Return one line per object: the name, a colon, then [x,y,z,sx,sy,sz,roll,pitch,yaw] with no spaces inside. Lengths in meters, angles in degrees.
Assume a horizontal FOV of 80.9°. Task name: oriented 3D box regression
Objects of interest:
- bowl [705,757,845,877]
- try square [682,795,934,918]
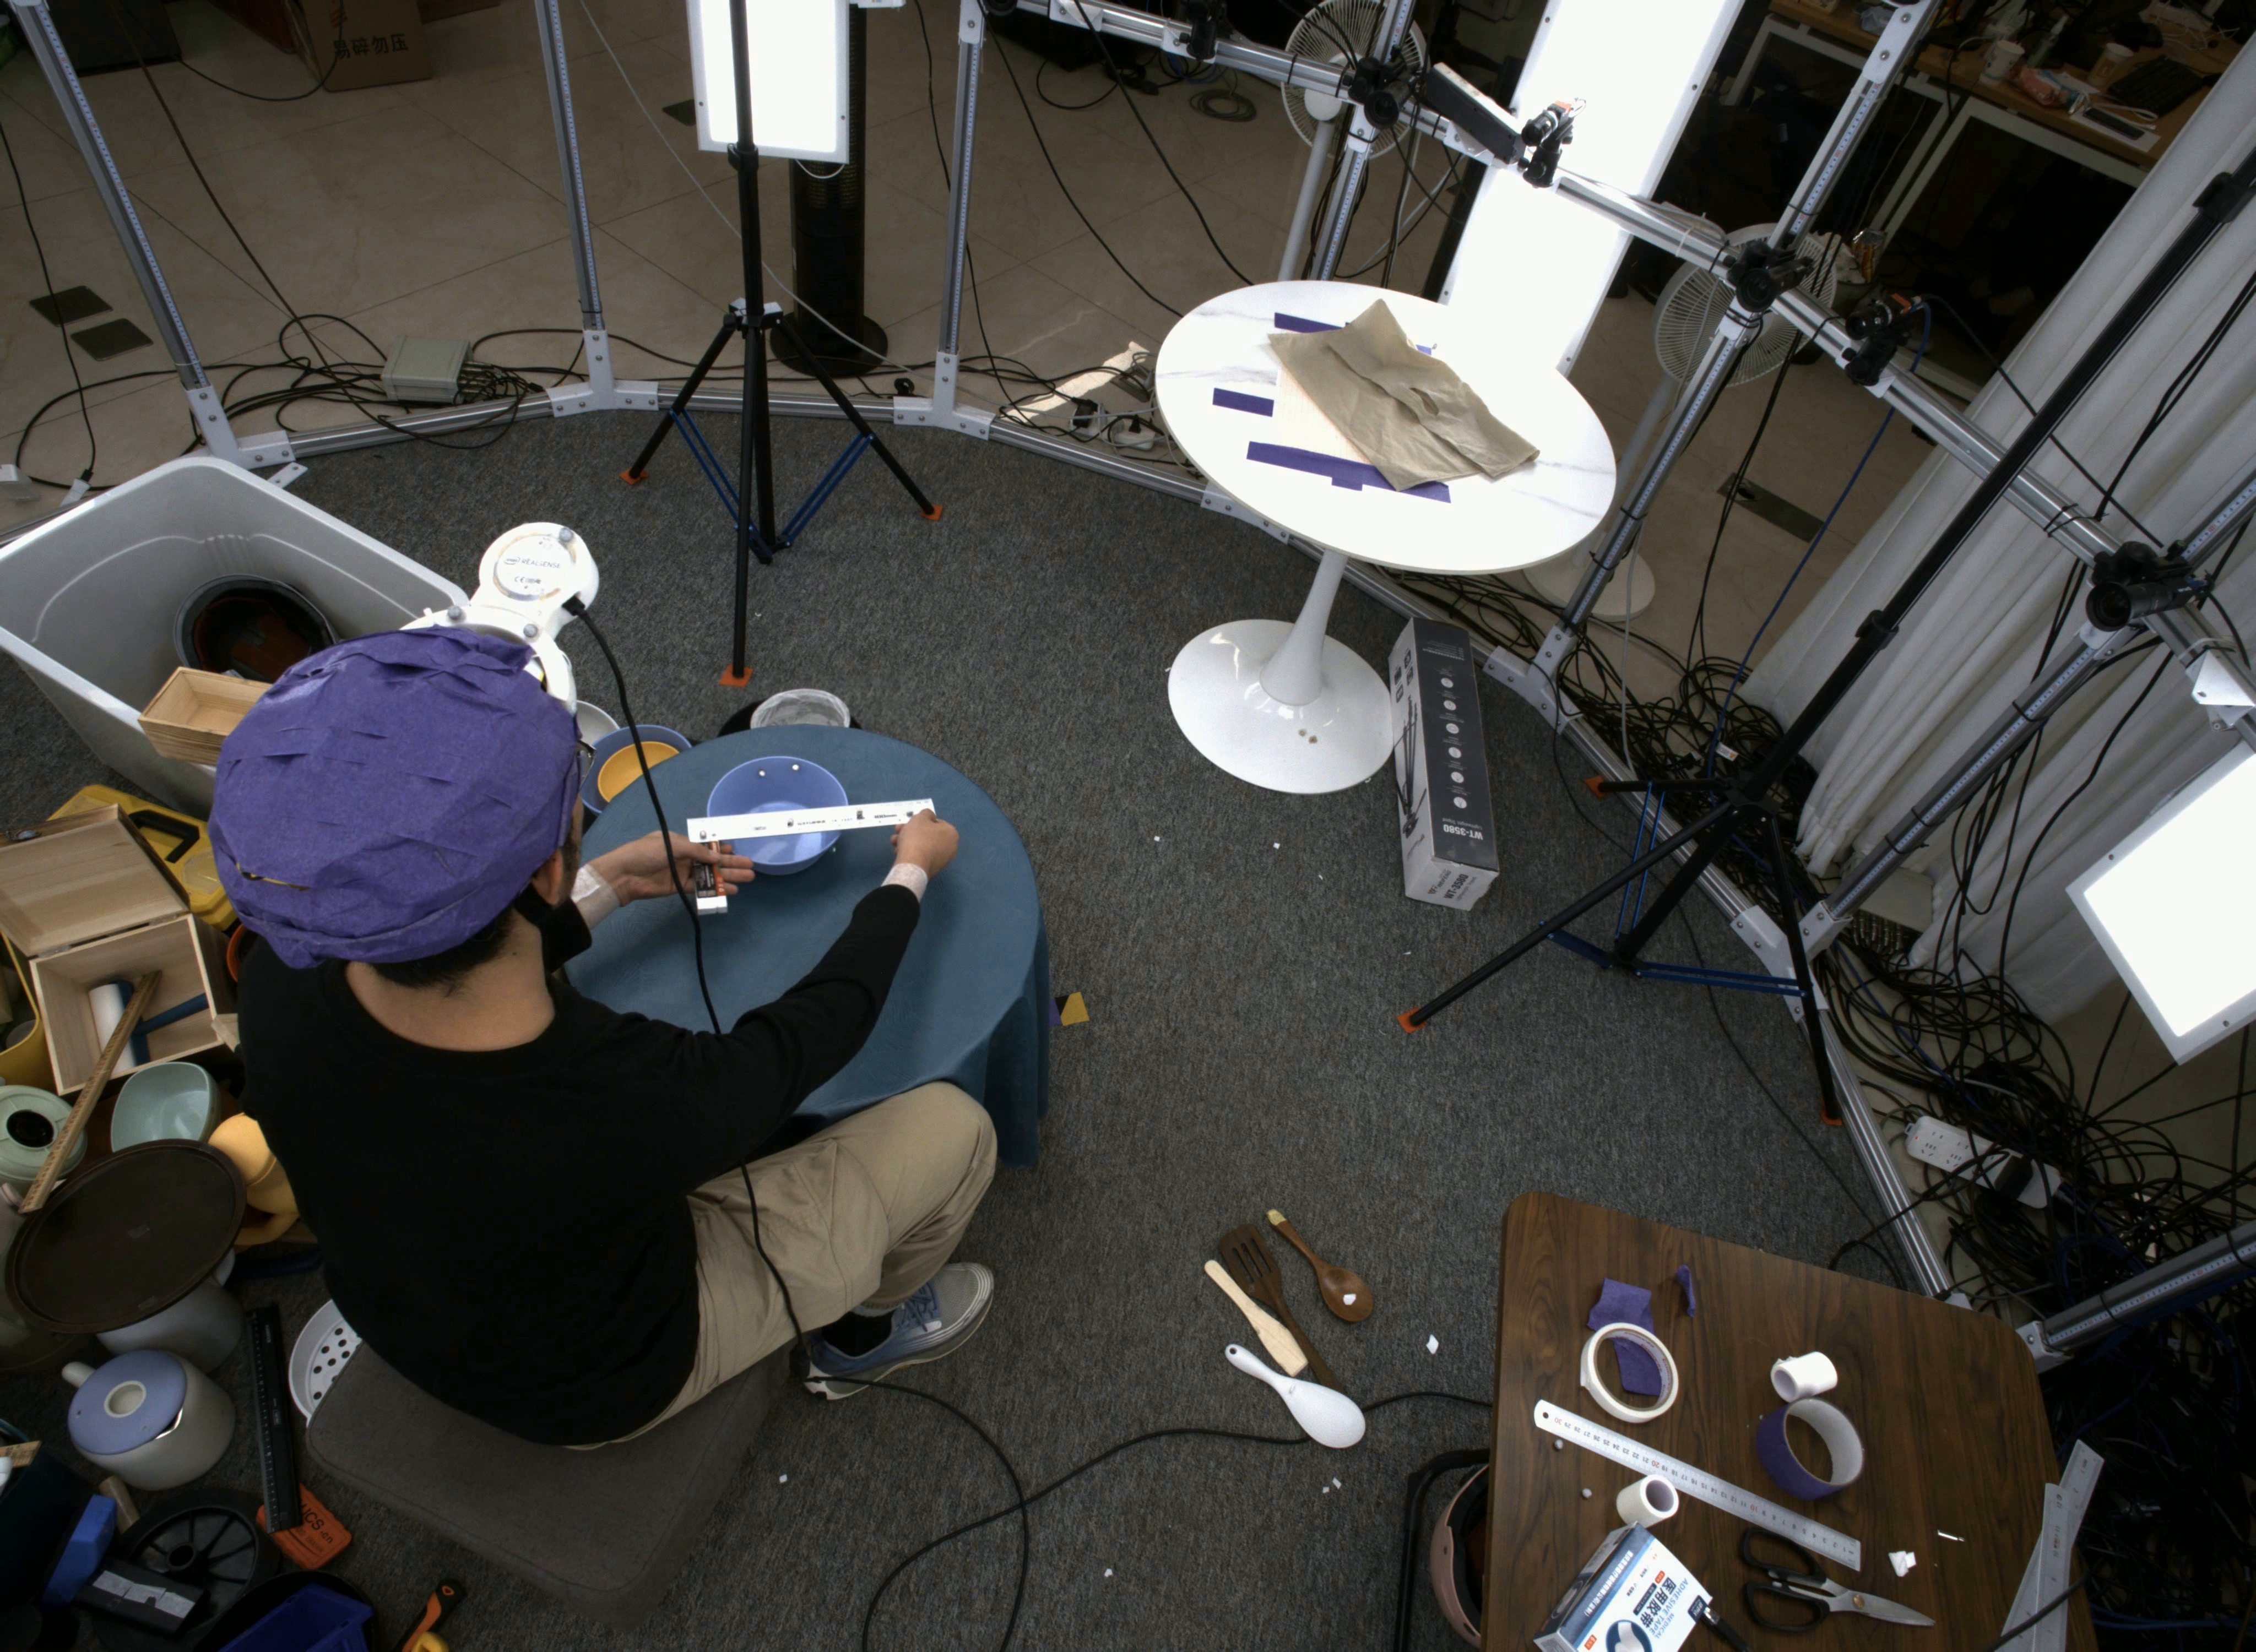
bowl: [-0.452,-0.003,1.668,0.176,0.072,0.173,8,52,-8]
try square: [-0.385,0.030,1.604,0.315,0.016,0.148,-6,53,-22]
